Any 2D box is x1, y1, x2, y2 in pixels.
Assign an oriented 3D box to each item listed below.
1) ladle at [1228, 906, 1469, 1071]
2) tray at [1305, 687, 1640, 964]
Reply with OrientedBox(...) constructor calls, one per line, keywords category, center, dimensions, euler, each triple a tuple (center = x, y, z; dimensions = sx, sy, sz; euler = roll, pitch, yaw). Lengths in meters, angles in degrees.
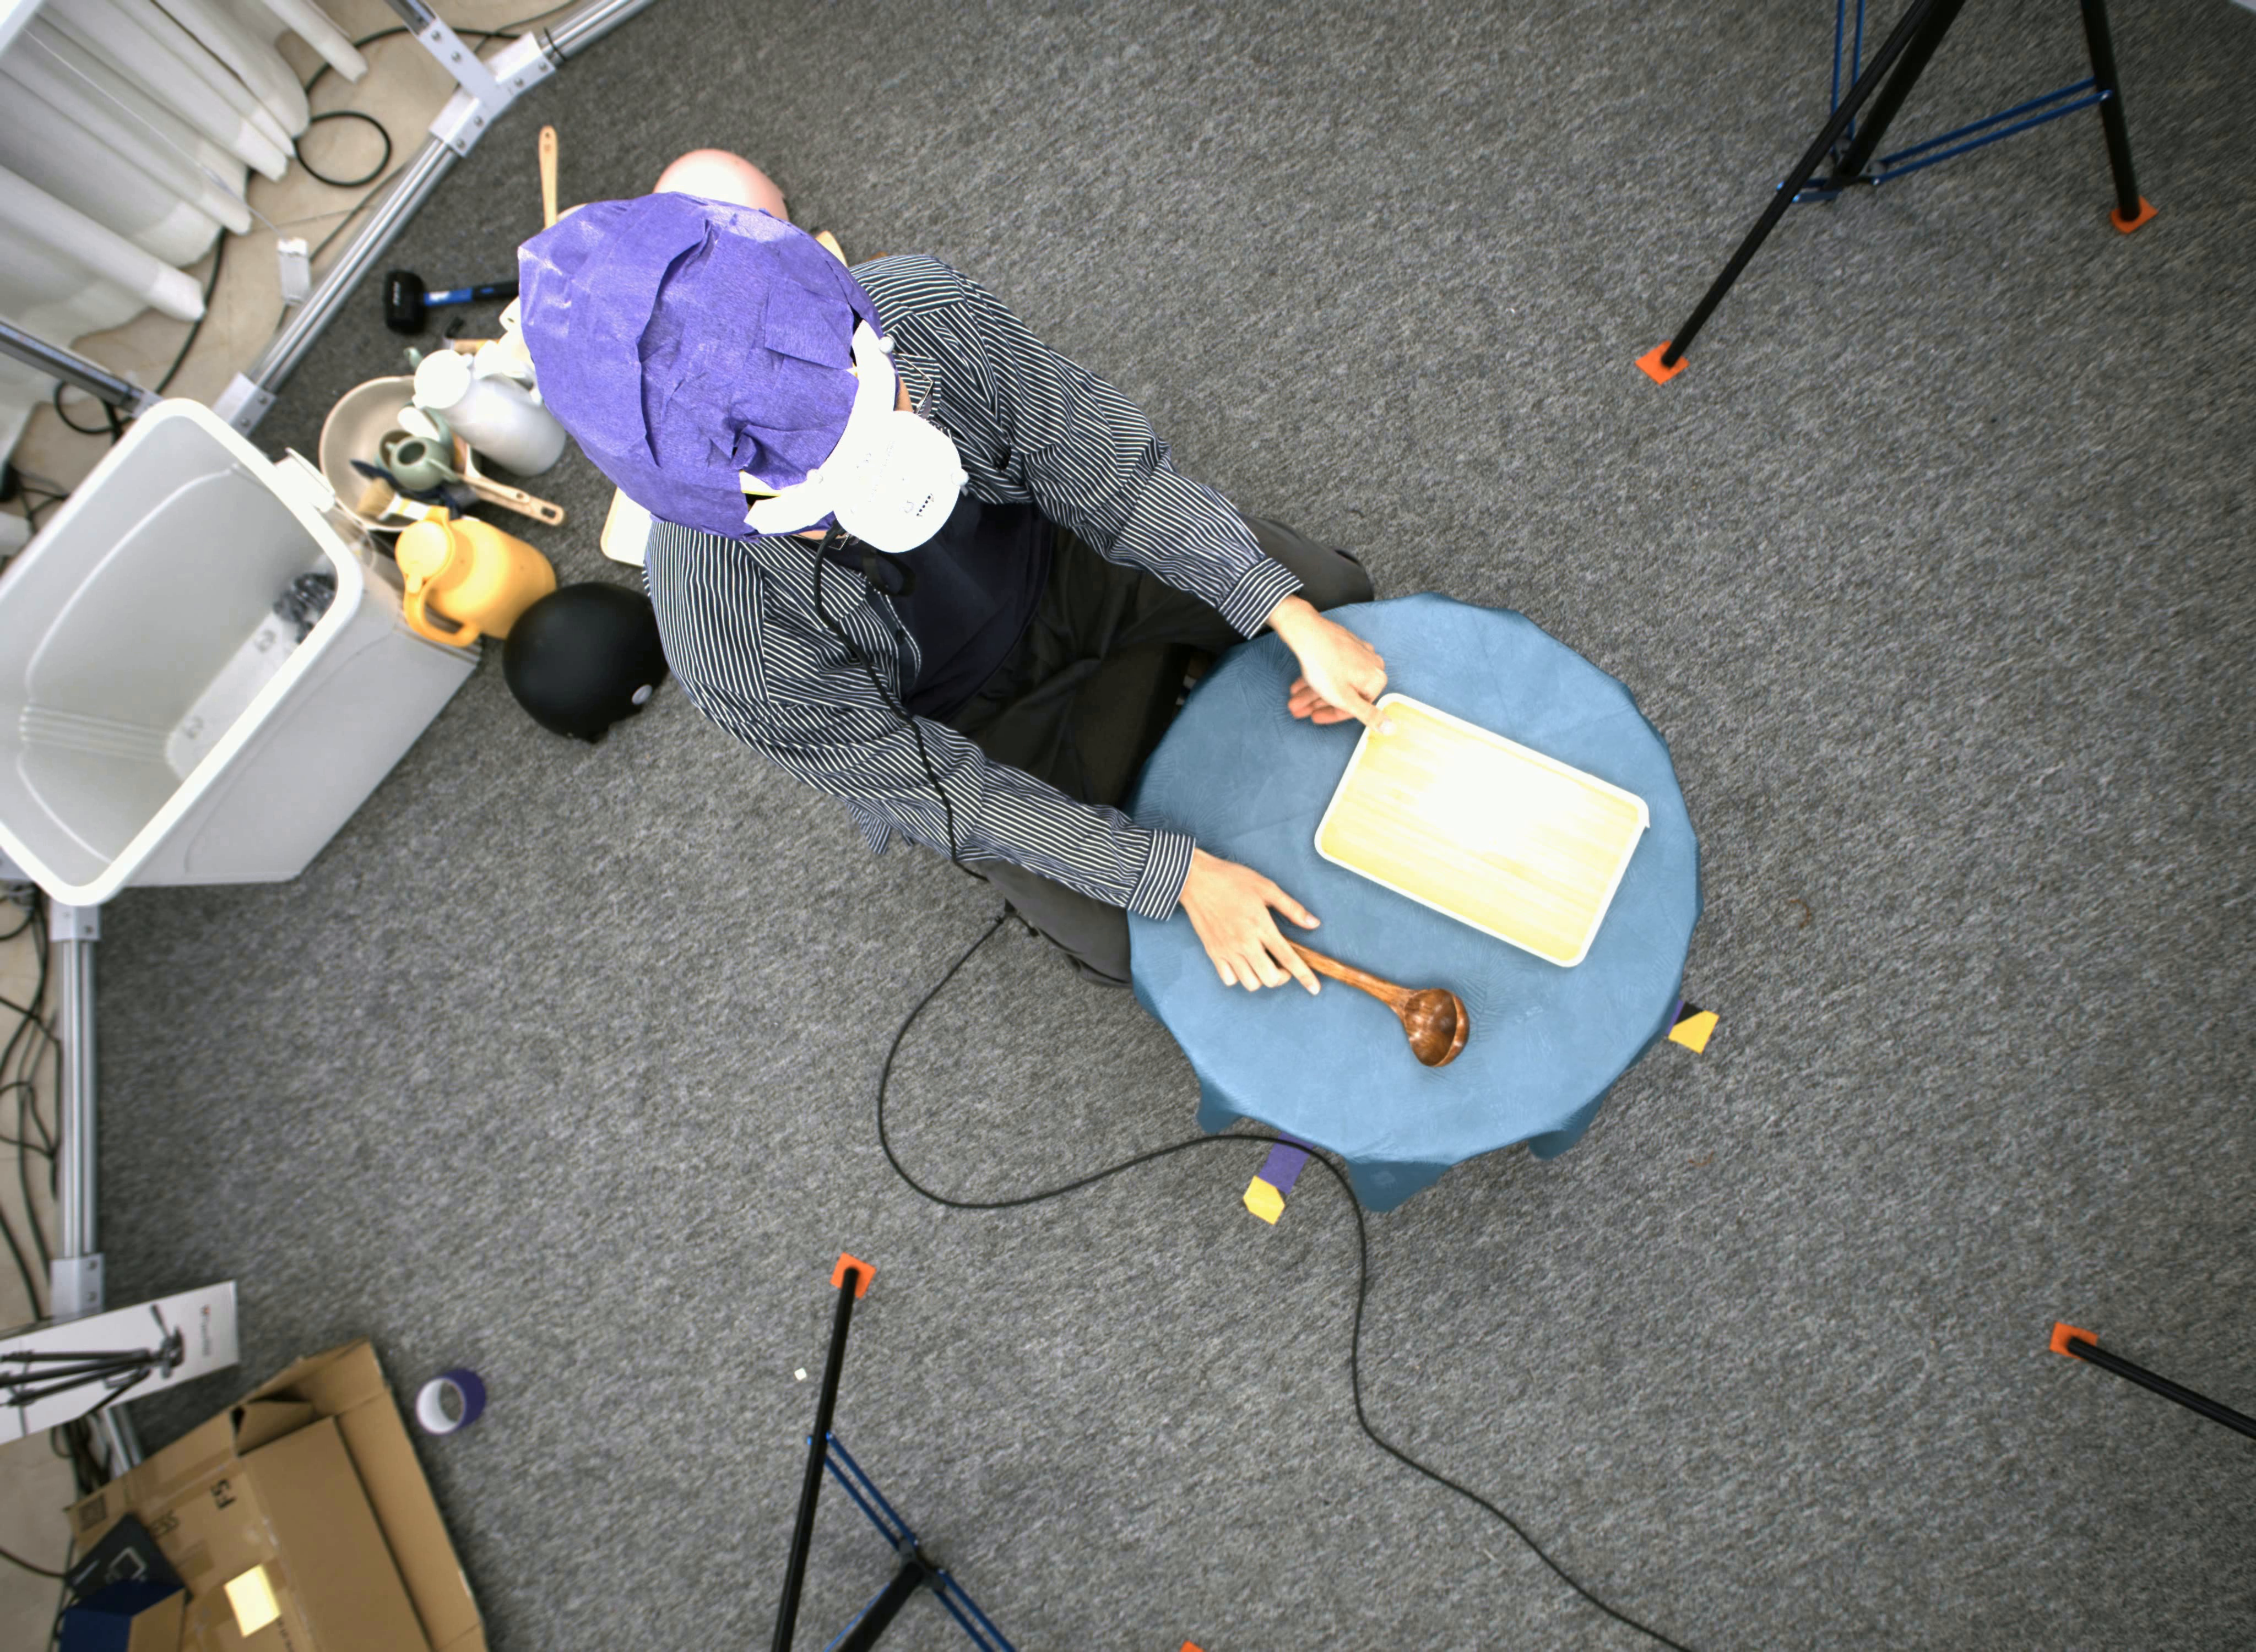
OrientedBox(category="ladle", center=(0.219, 0.160, 1.416), dimensions=(0.274, 0.075, 0.083), euler=(26, 108, 9))
OrientedBox(category="tray", center=(0.353, -0.004, 1.424), dimensions=(0.300, 0.027, 0.192), euler=(26, 92, 10))
